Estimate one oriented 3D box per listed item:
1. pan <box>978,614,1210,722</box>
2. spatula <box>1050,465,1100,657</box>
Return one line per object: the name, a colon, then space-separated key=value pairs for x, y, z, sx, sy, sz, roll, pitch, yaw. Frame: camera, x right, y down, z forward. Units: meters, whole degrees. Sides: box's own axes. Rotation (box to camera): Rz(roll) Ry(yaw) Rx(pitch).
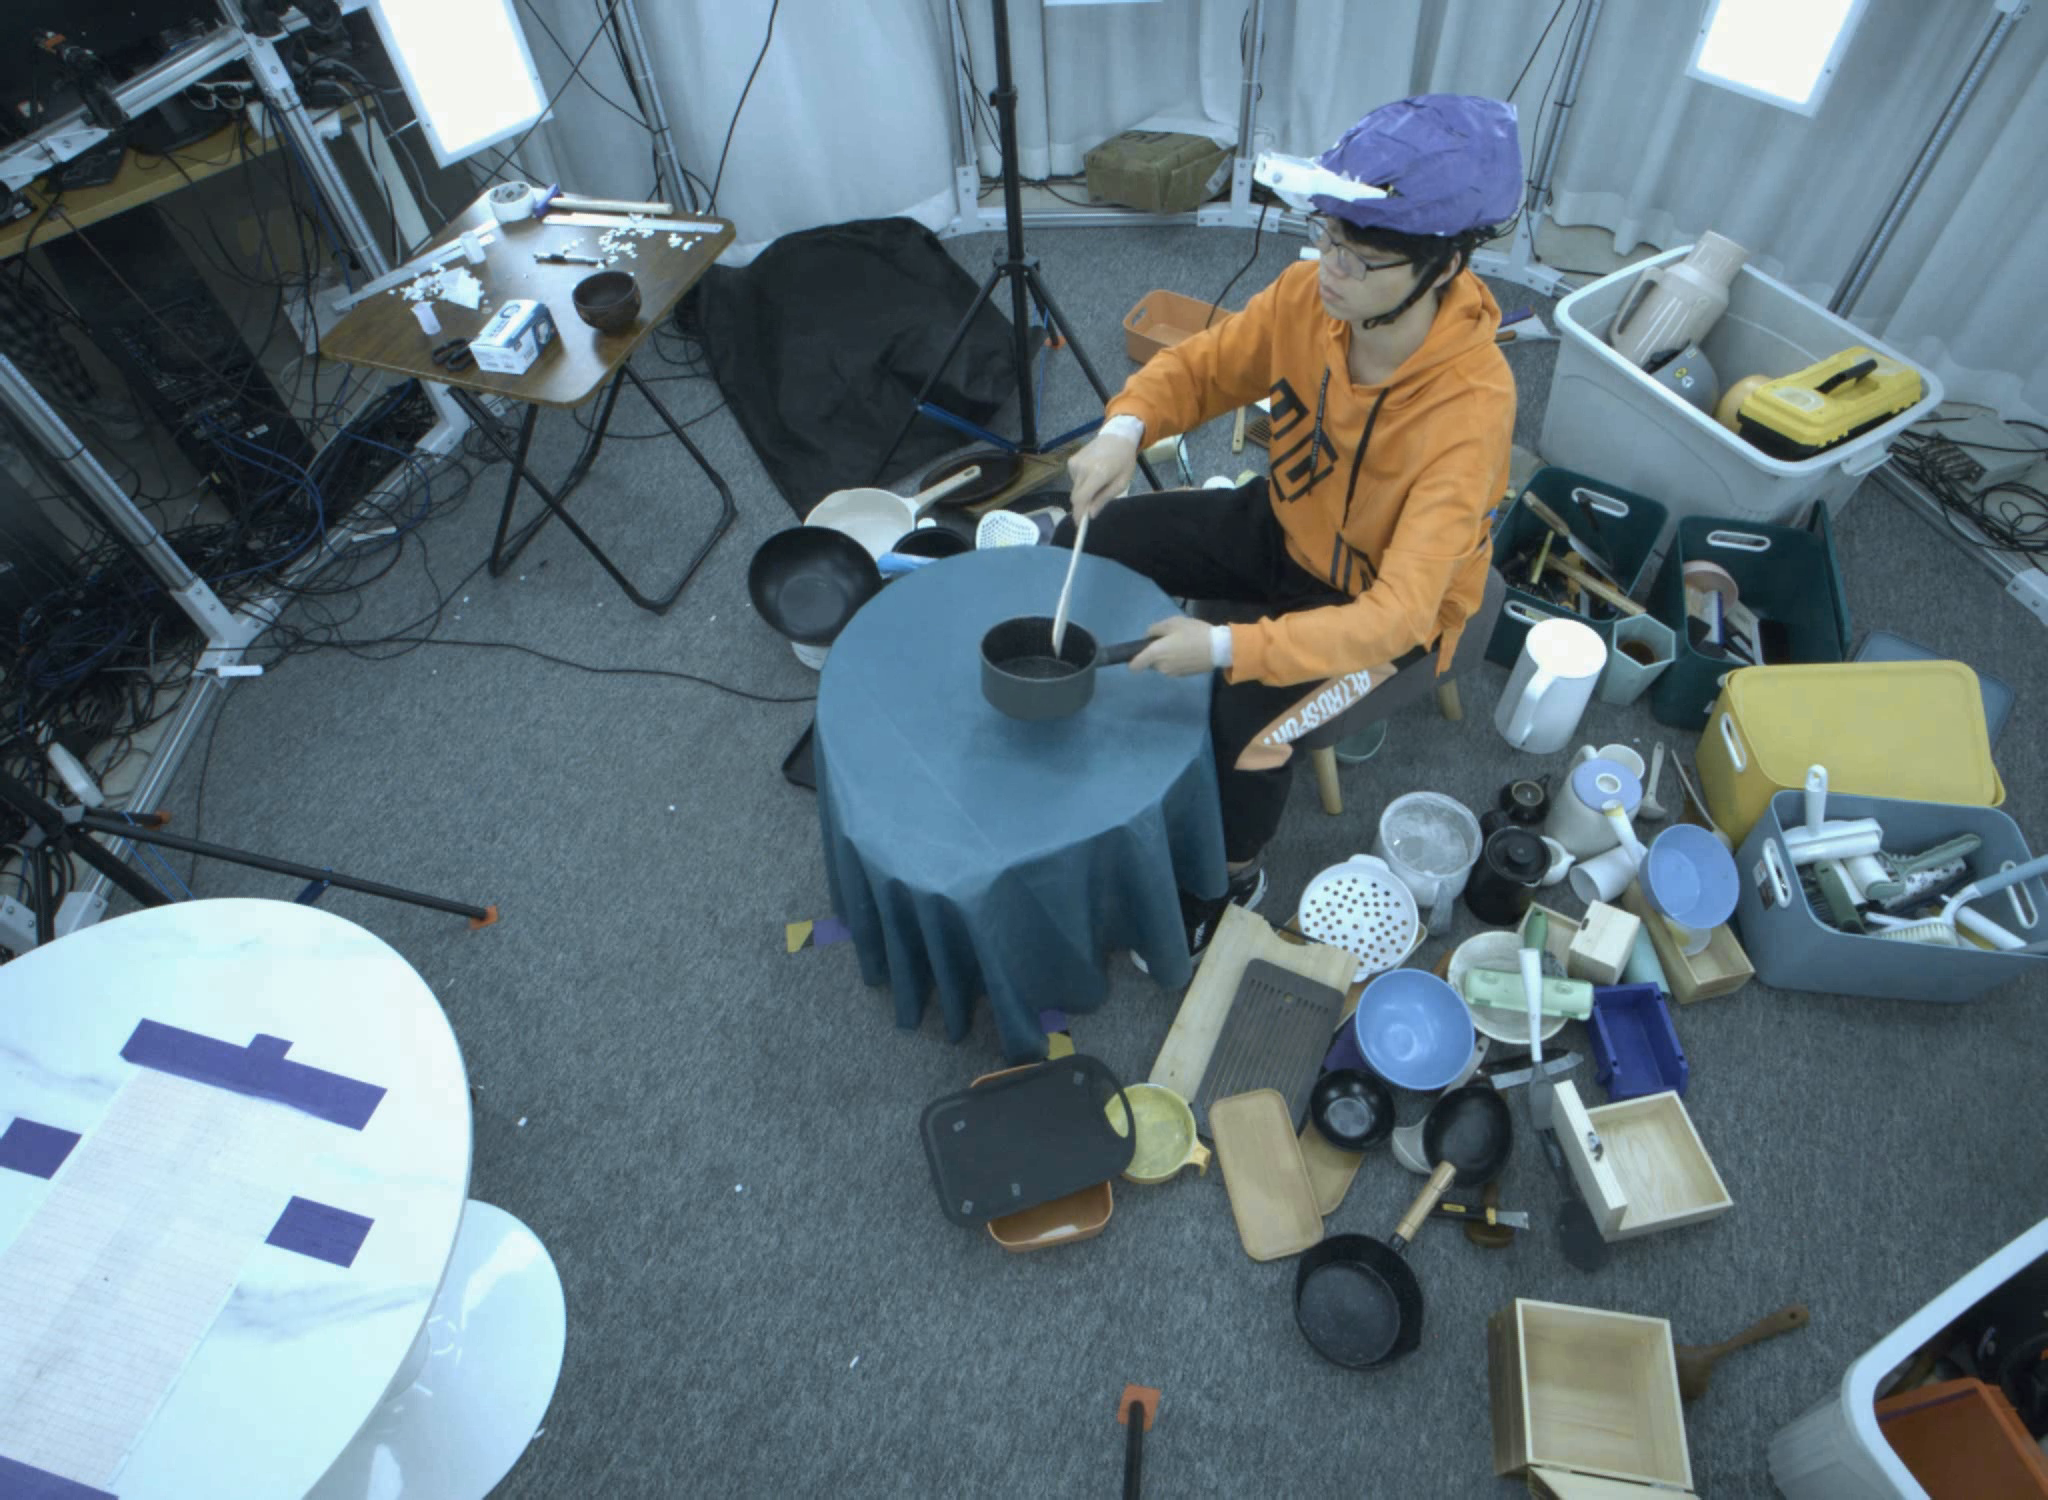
pan: x=0.099 y=-0.122 z=1.755 sx=0.330 sy=0.087 sz=0.169 roll=-3 pitch=40 yaw=-6
spatula: x=0.073 y=-0.279 z=1.765 sx=0.010 sy=0.073 sz=0.292 roll=11 pitch=78 yaw=12
